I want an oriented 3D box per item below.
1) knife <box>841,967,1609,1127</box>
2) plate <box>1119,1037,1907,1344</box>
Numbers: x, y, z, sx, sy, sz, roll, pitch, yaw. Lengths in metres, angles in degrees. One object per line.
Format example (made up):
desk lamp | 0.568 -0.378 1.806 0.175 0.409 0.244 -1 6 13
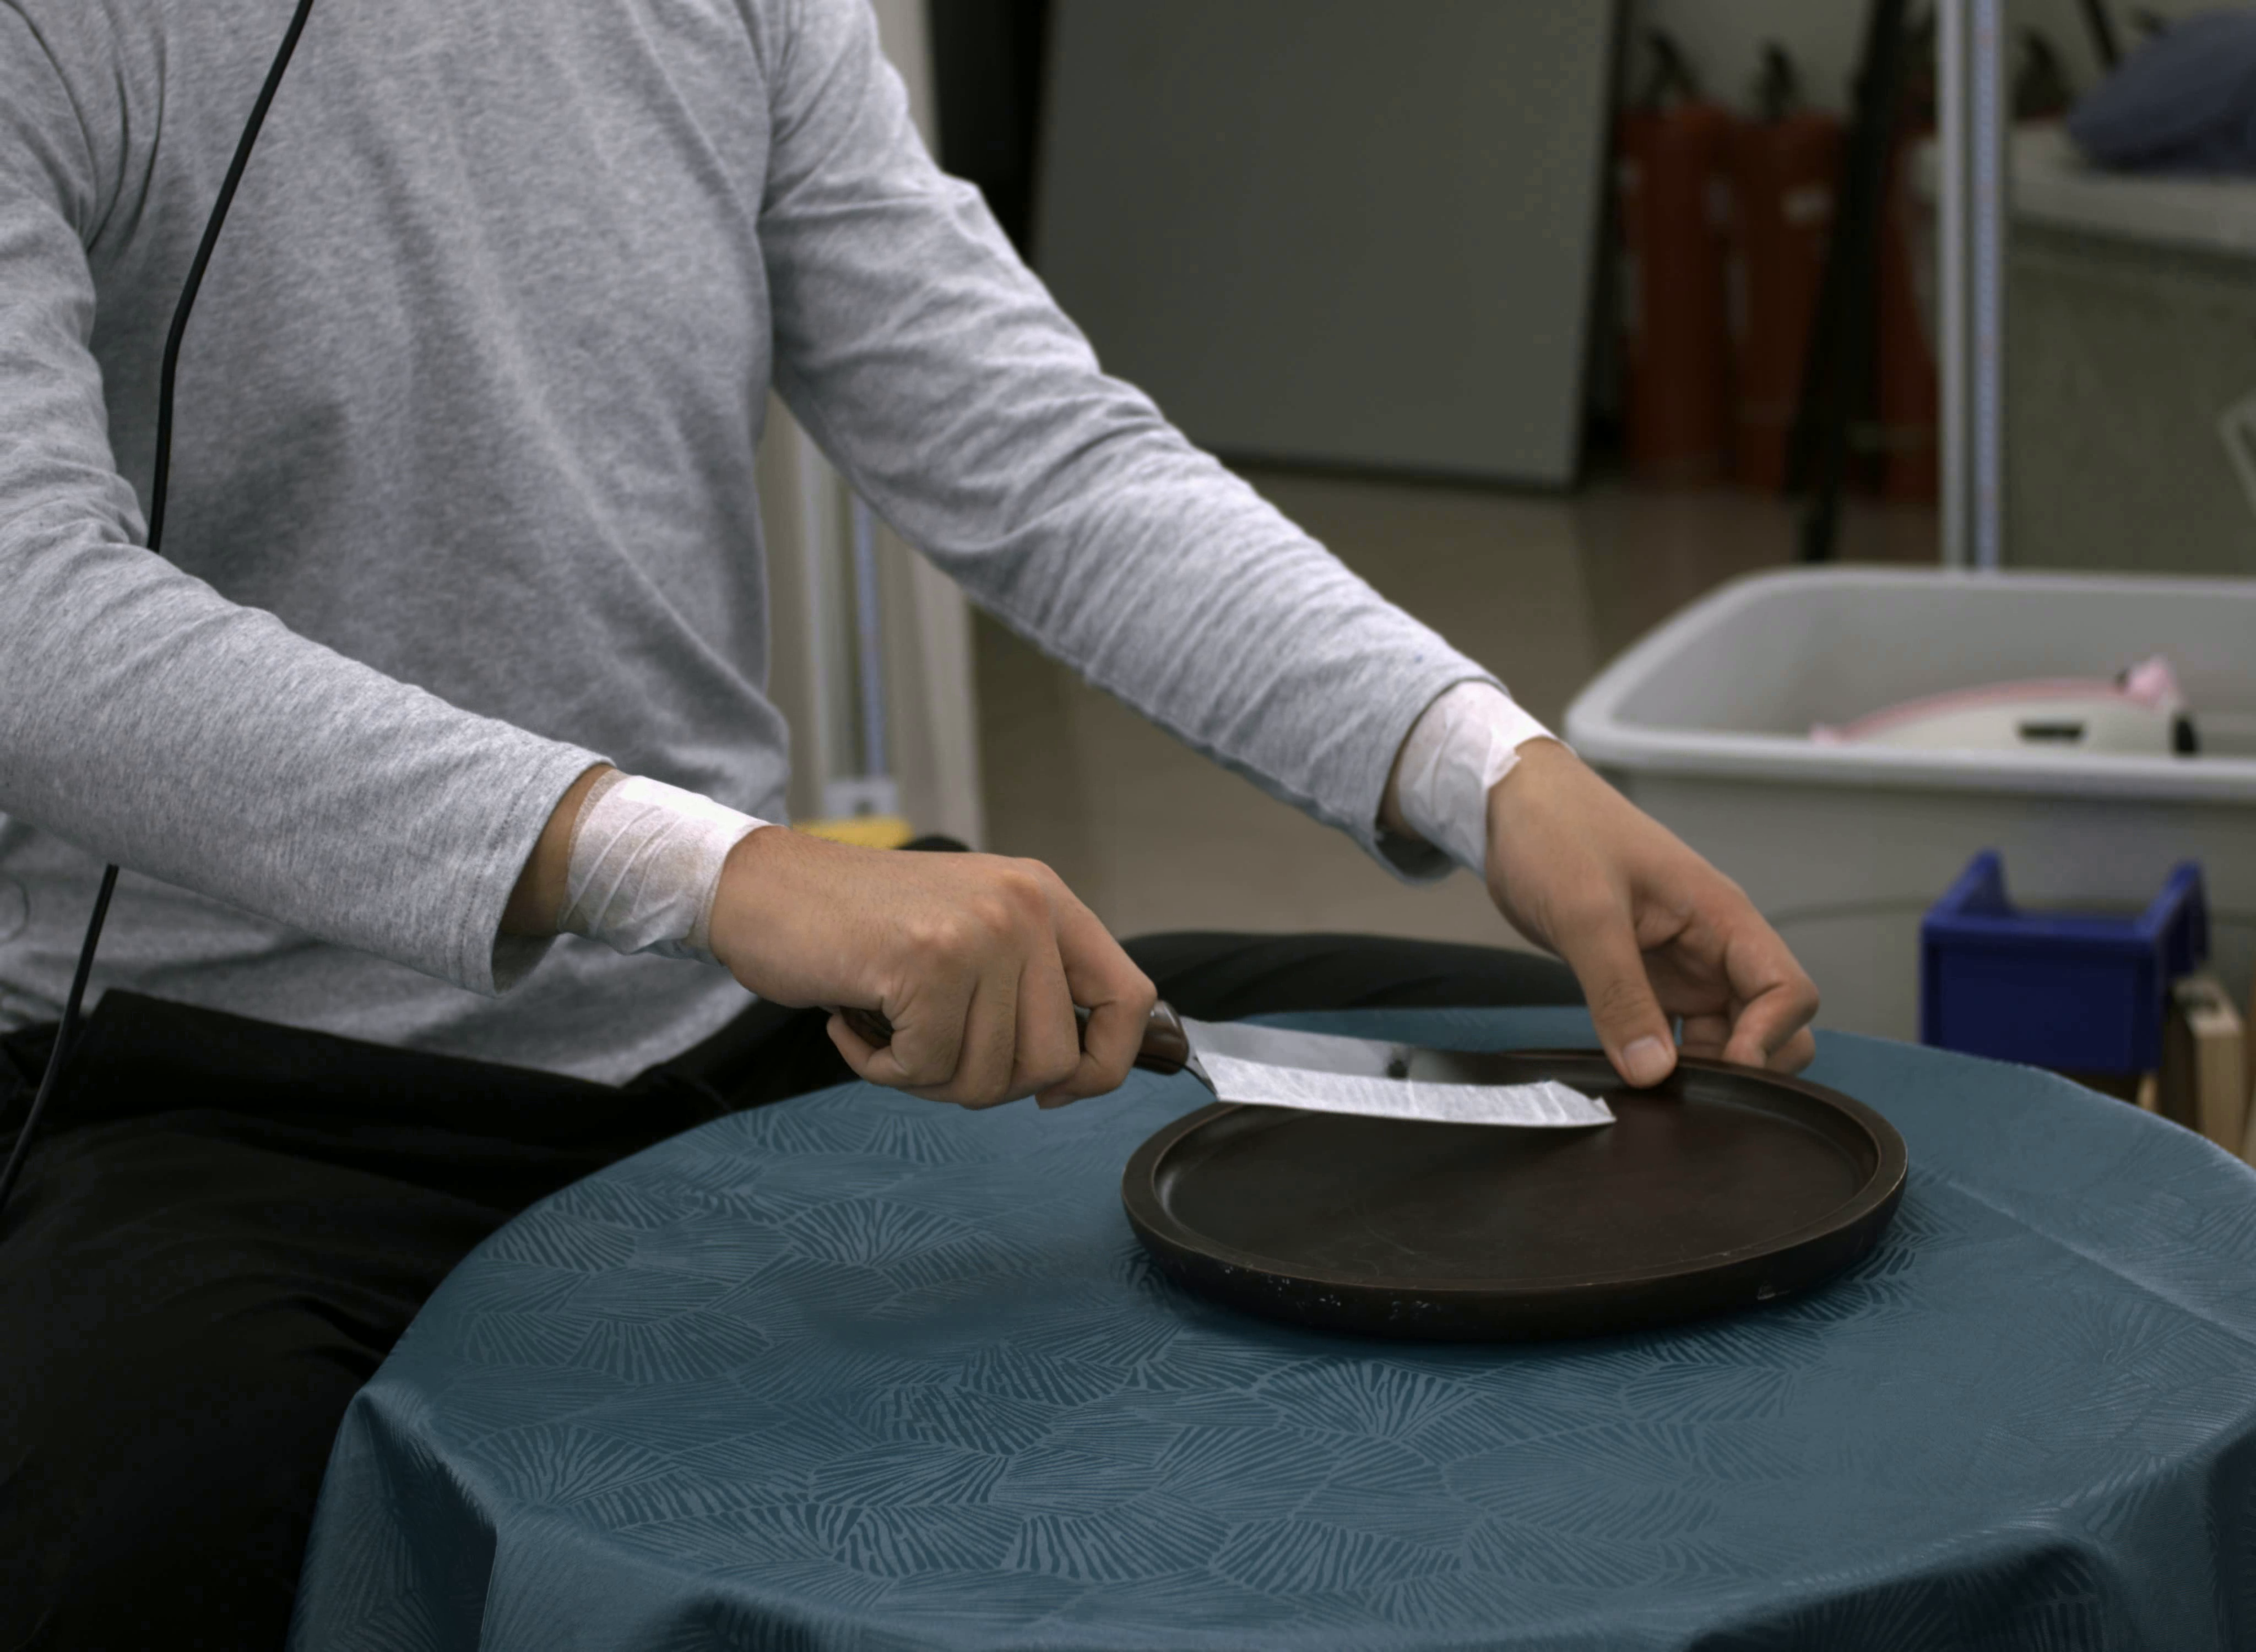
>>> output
knife | 0.037 0.073 1.708 0.282 0.020 0.051 10 31 -30
plate | 0.122 0.116 1.709 0.251 0.029 0.255 -6 14 1
